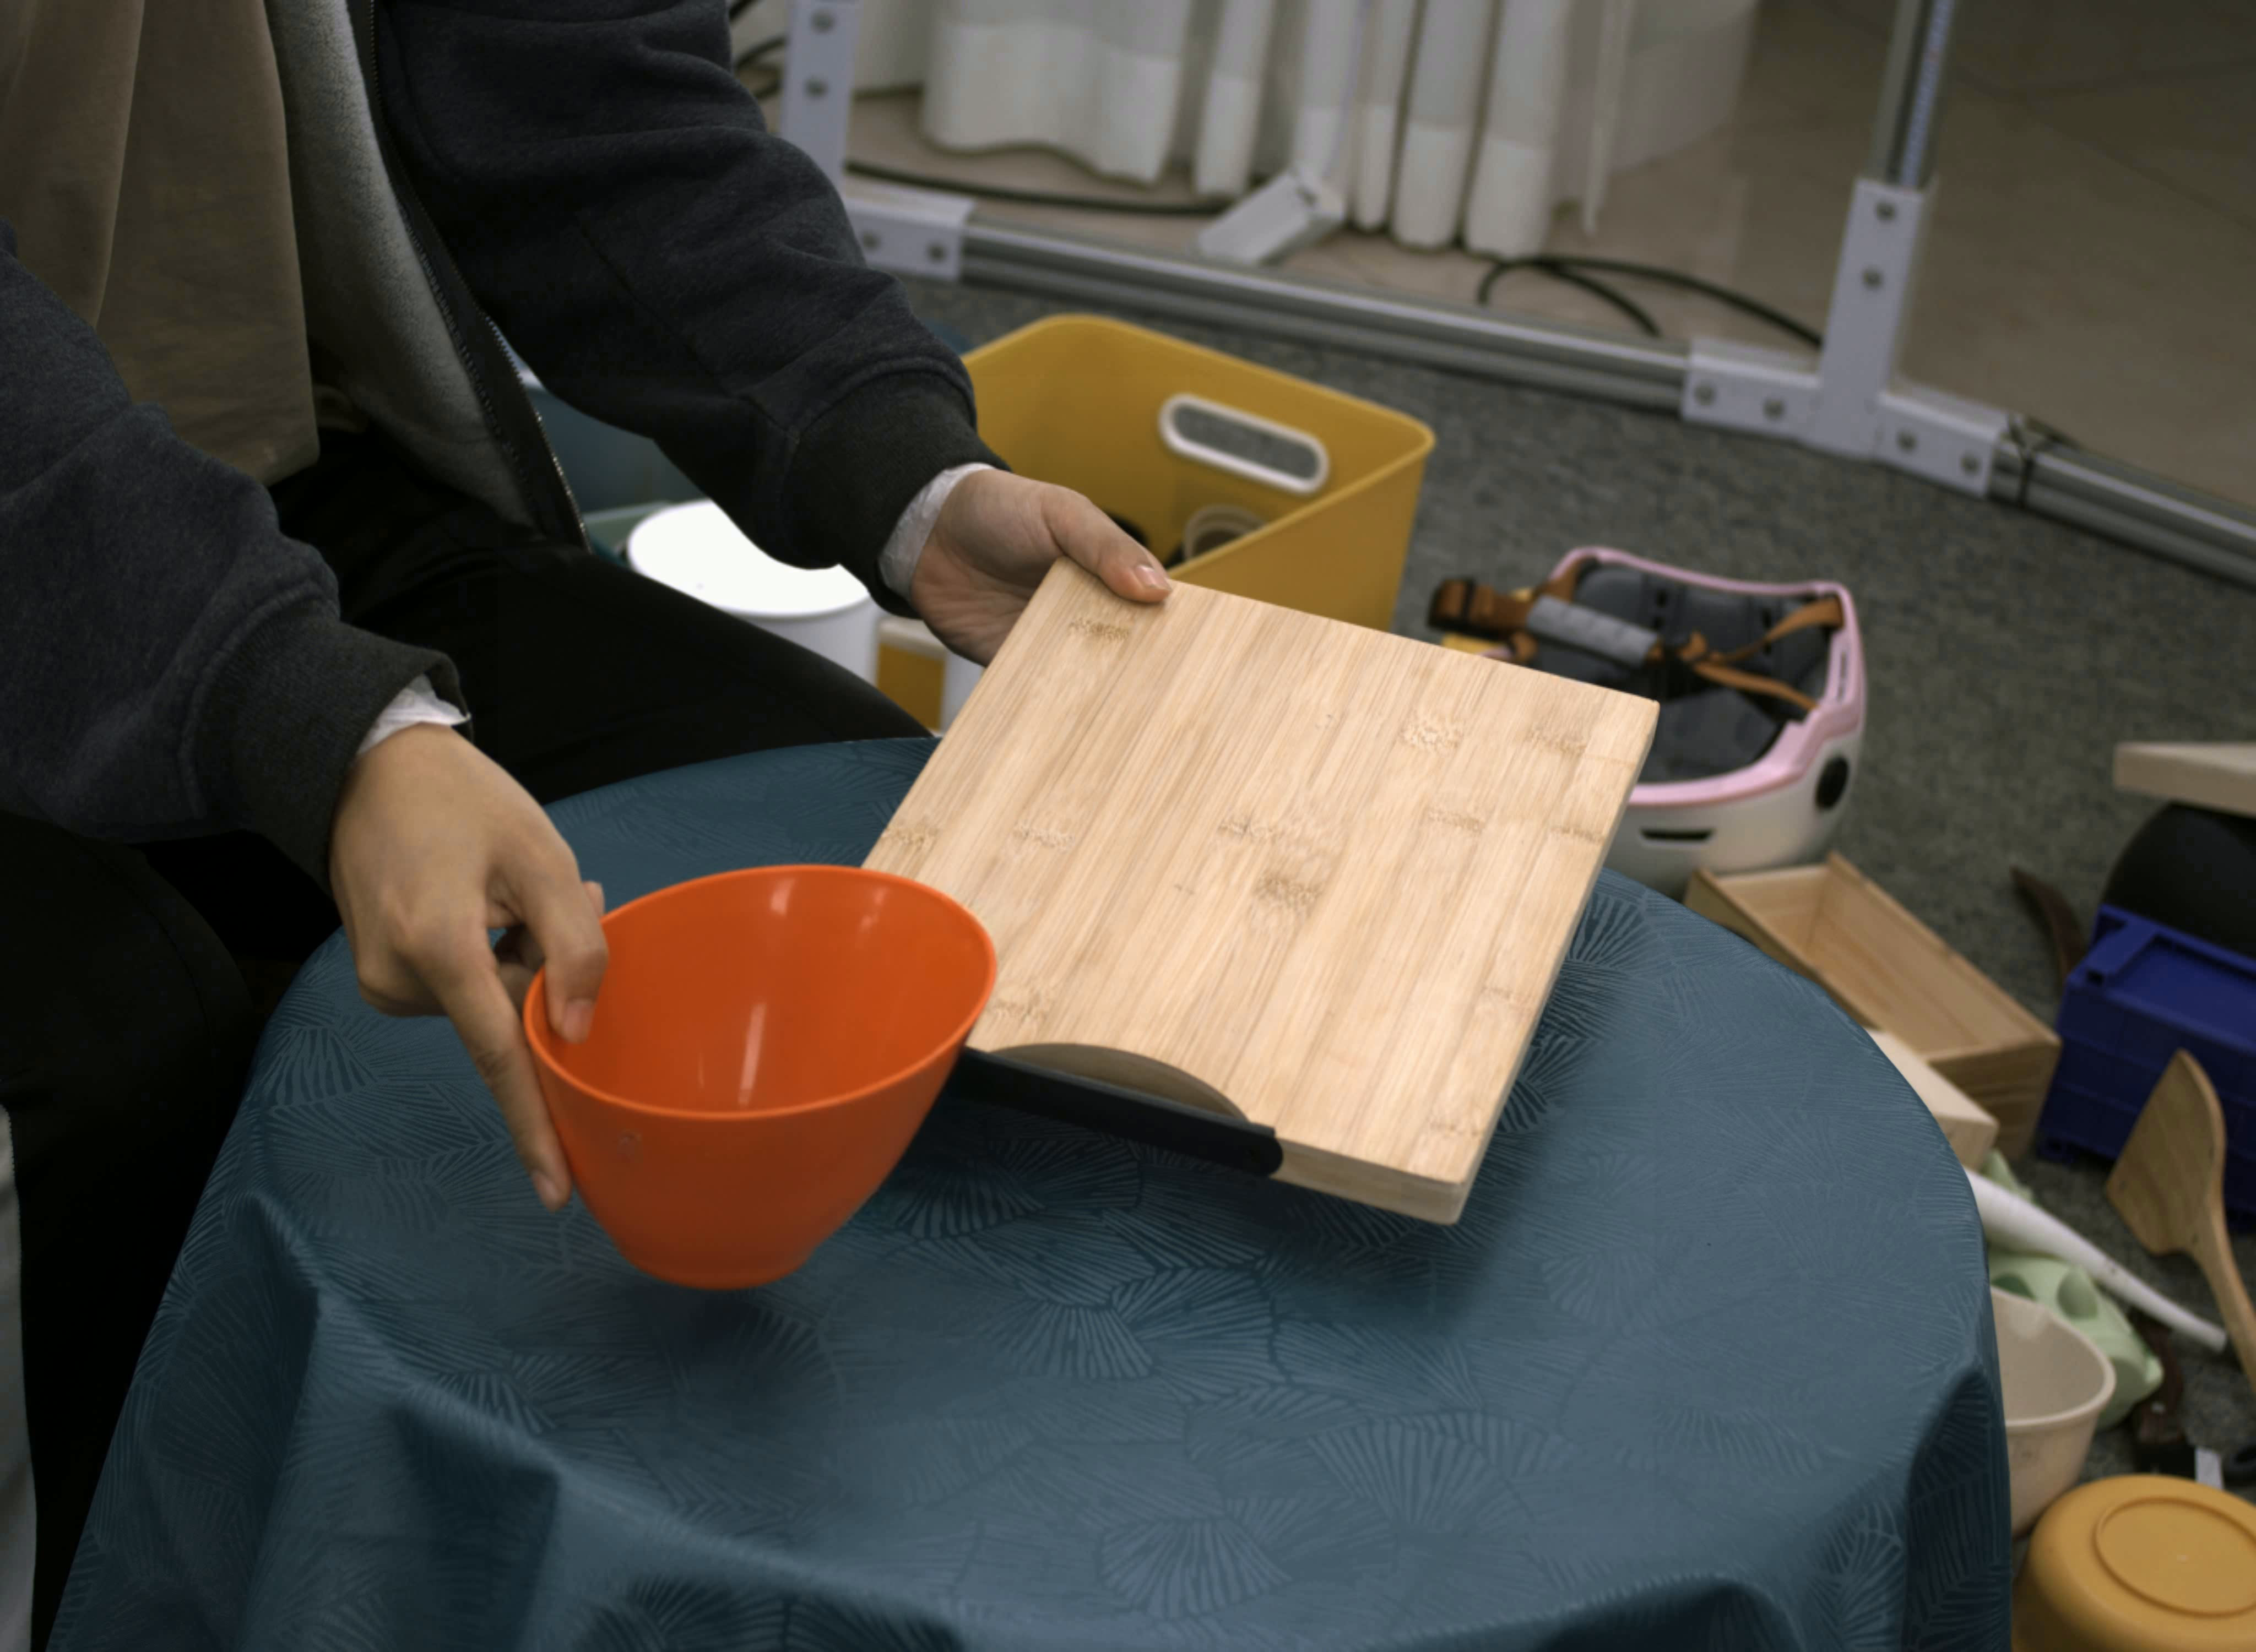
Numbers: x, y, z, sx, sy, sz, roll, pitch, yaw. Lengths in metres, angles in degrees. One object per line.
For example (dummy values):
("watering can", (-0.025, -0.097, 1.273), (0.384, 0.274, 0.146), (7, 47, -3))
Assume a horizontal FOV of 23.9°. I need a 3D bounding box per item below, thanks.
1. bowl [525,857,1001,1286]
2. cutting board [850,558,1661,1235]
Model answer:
("bowl", (-0.118, 0.084, 1.680), (0.147, 0.104, 0.149), (5, 30, -3))
("cutting board", (0.037, 0.016, 1.894), (0.251, 0.023, 0.349), (13, 32, 10))
